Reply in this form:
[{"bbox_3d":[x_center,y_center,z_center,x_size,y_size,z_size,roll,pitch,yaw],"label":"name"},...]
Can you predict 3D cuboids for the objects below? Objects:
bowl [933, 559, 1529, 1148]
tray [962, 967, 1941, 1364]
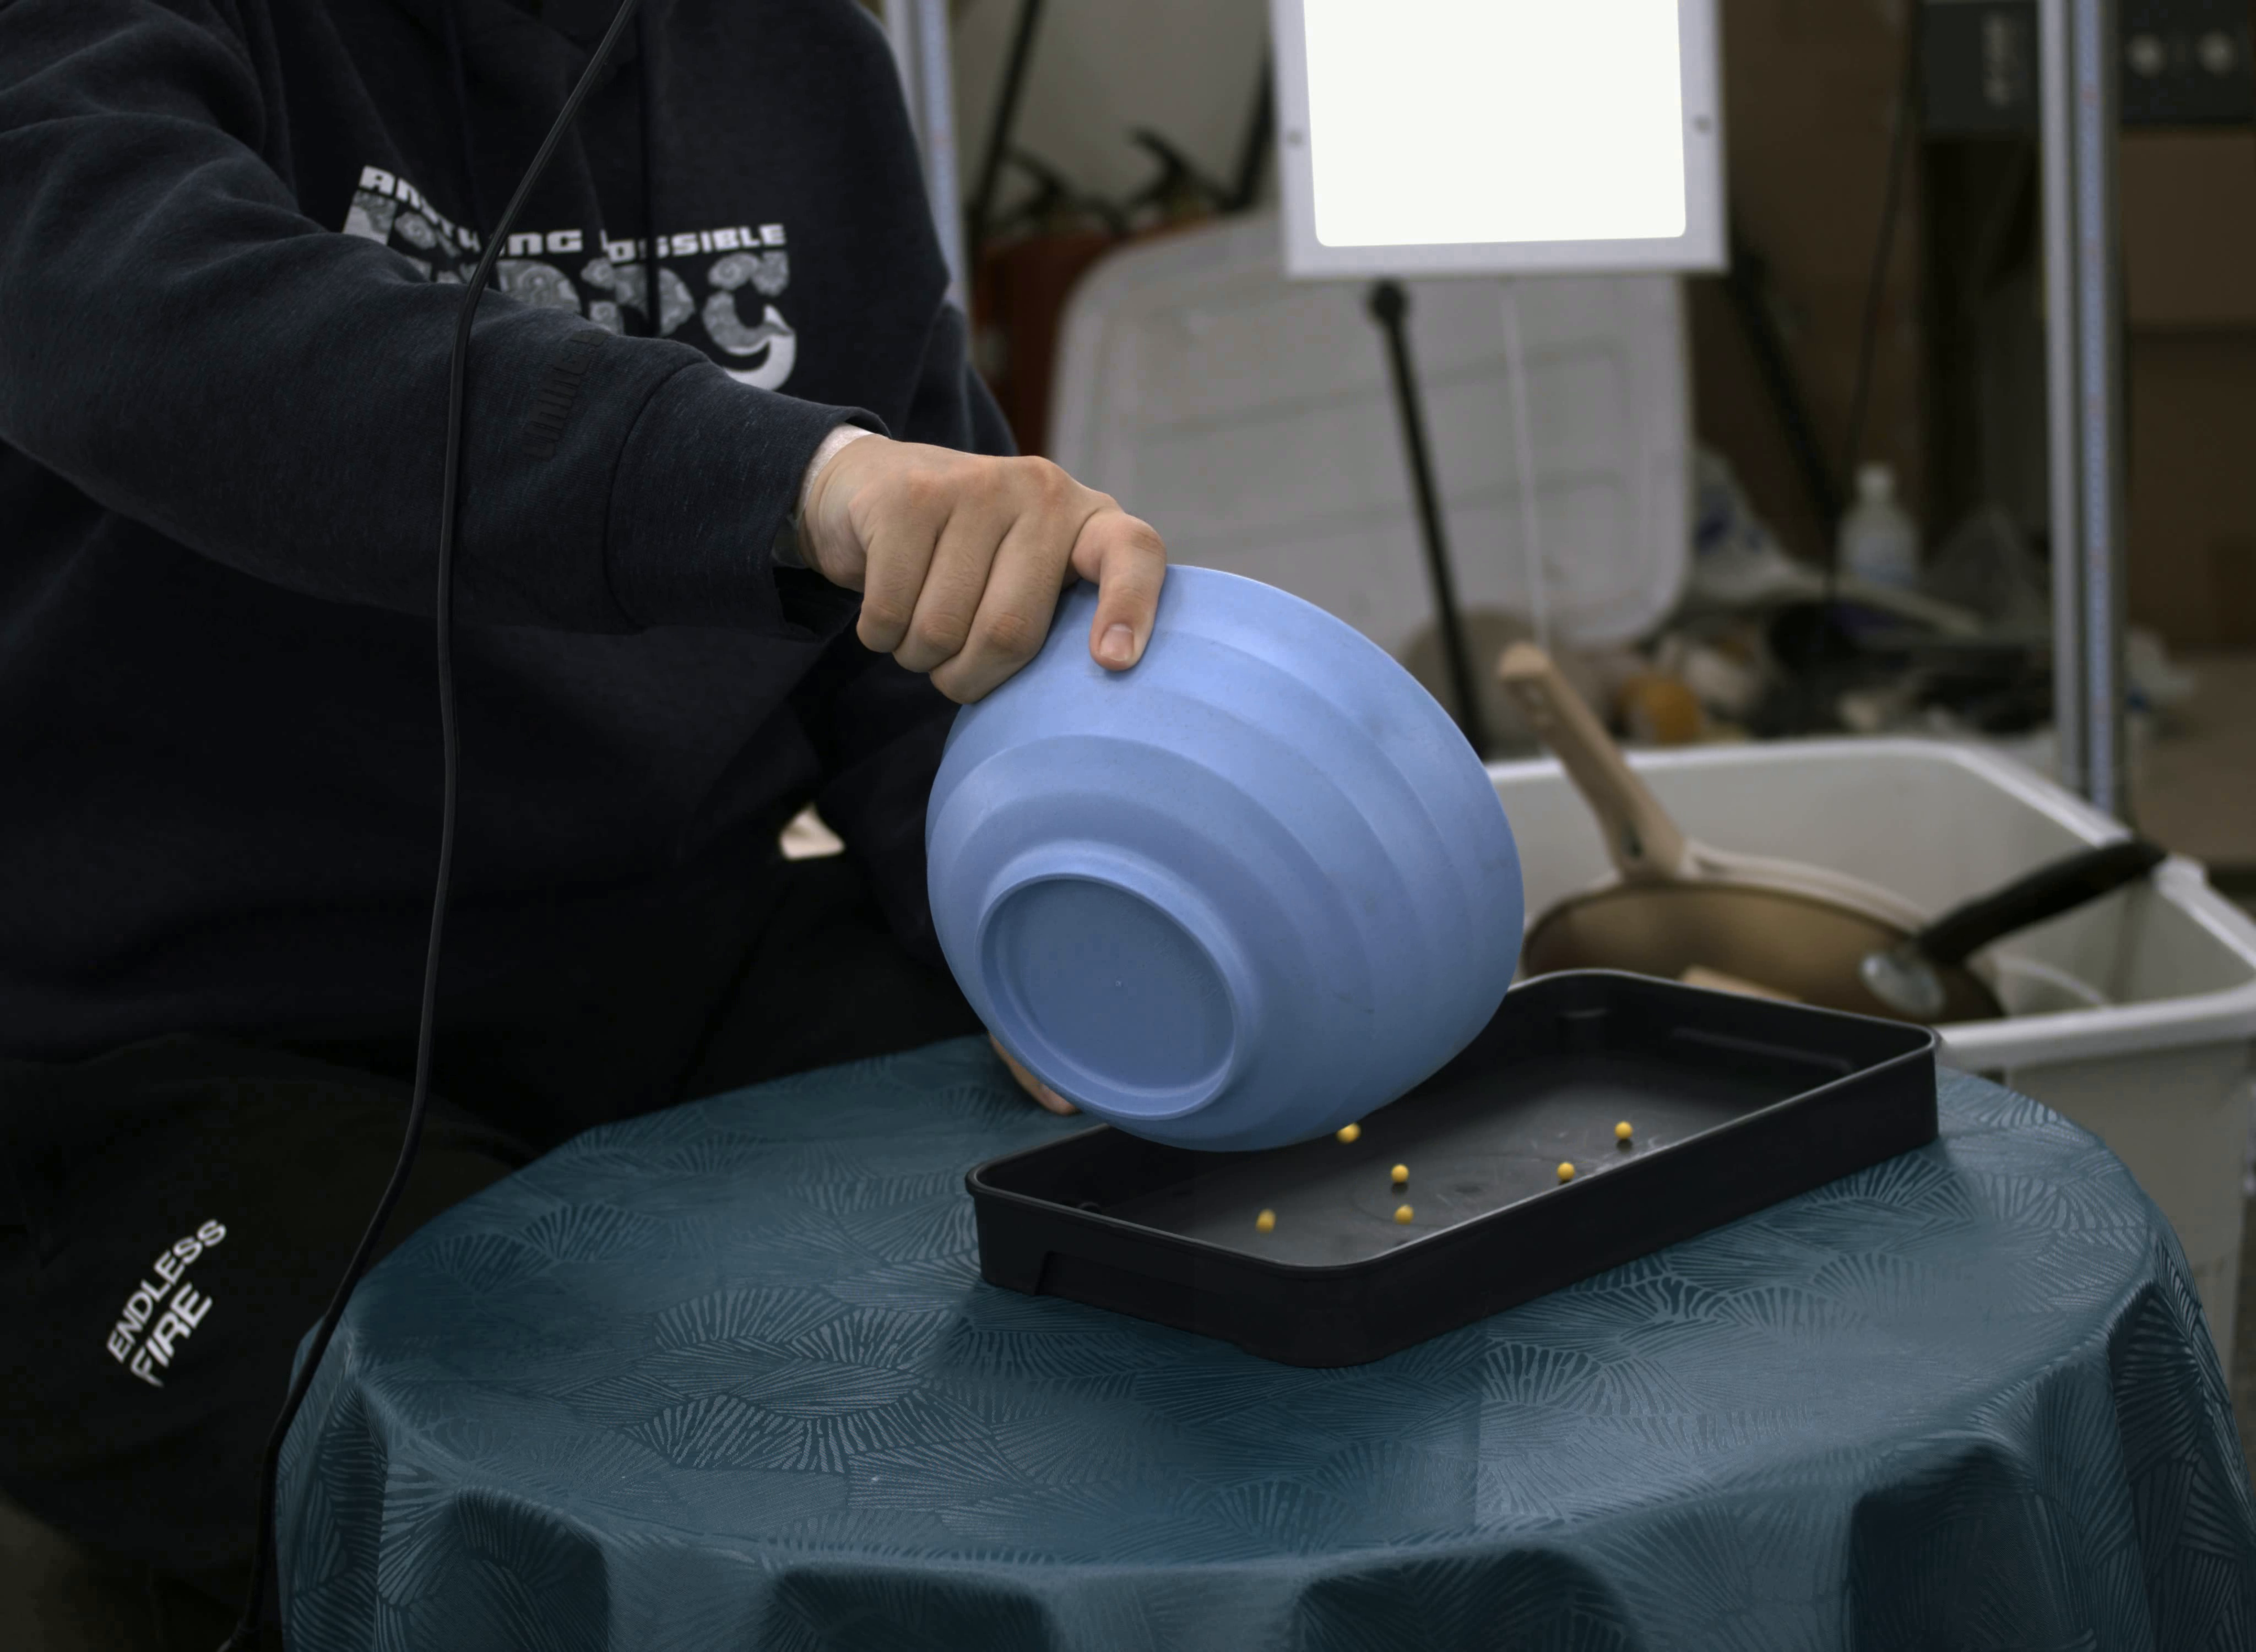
[{"bbox_3d":[0.016,0.025,1.693,0.200,0.196,0.093,5,35,33],"label":"bowl"},{"bbox_3d":[0.114,0.109,1.850,0.310,0.037,0.188,-16,17,-39],"label":"tray"}]
